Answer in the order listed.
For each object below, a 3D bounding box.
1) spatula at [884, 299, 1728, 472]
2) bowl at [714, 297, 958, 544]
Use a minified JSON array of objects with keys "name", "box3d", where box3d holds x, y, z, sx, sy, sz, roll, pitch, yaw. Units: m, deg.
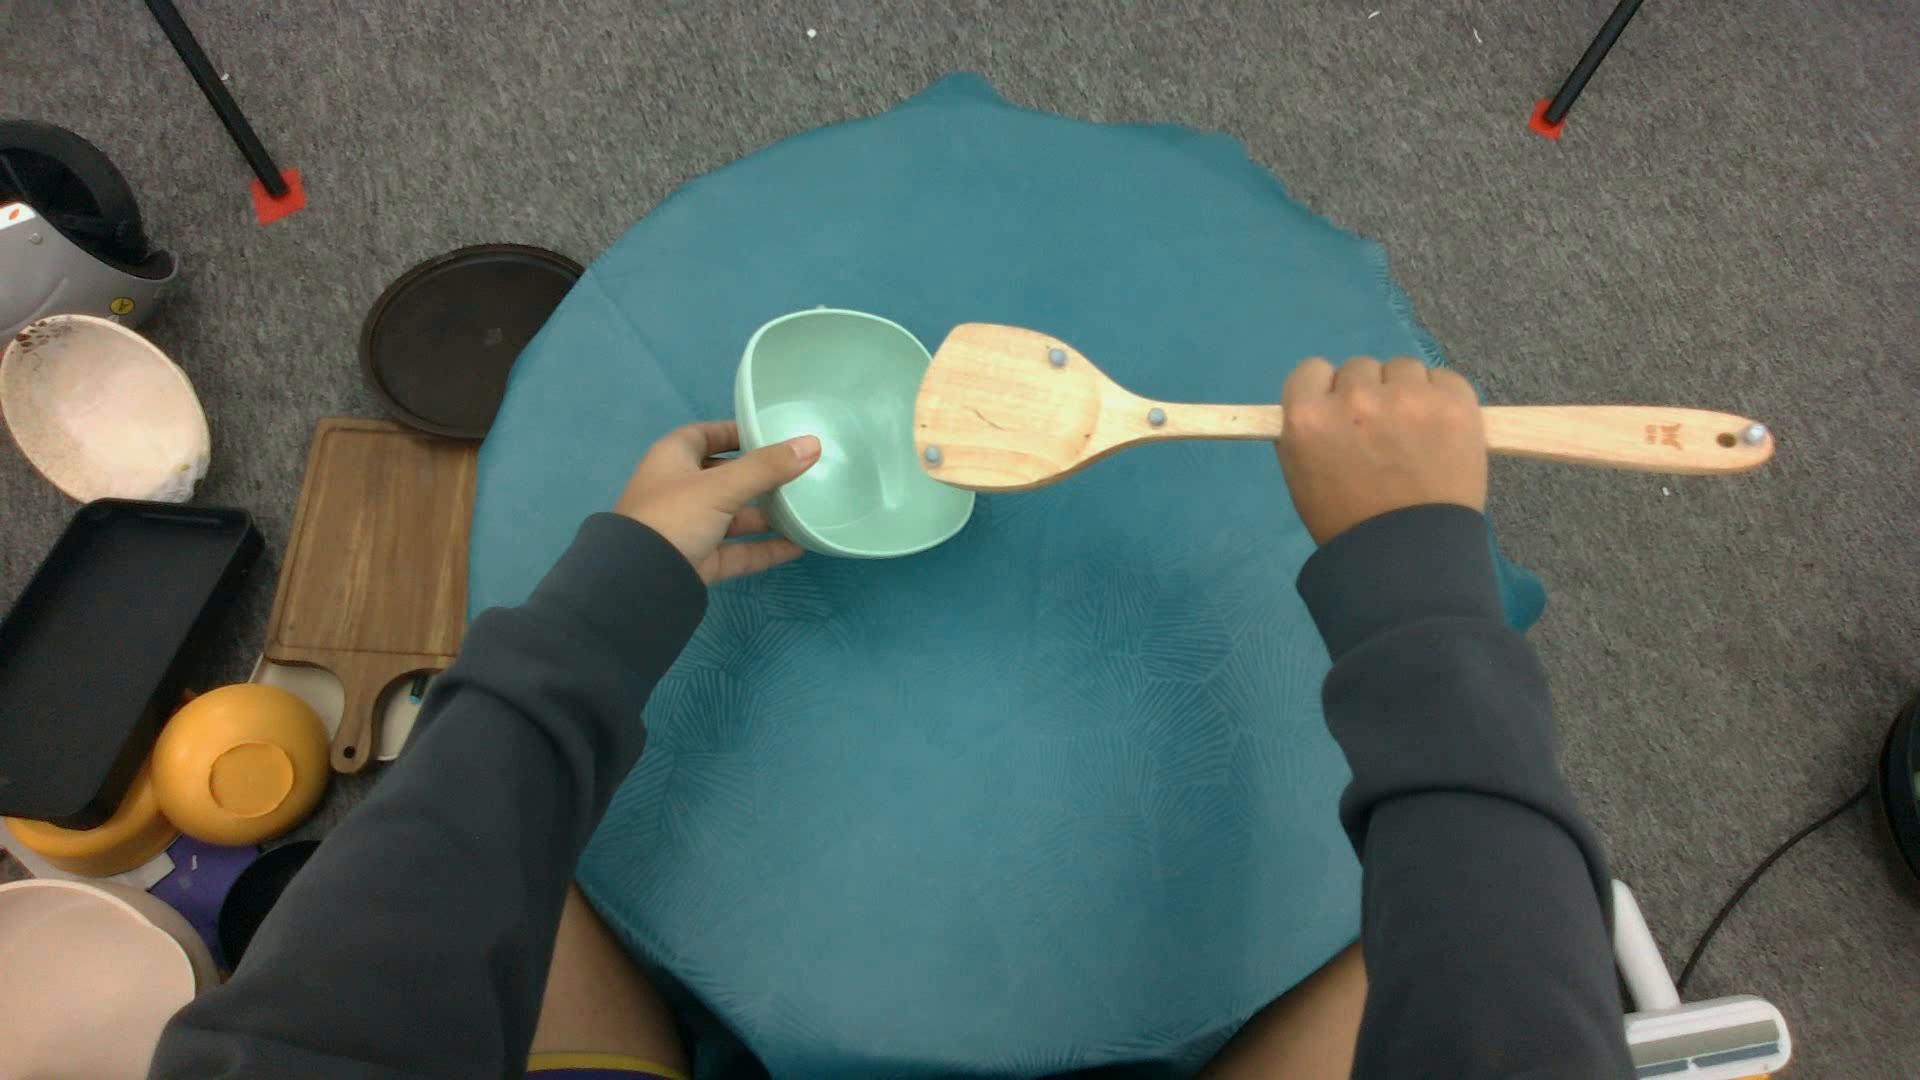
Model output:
[{"name":"spatula","box3d":[0.151,-0.070,0.659,0.390,0.018,0.096,3,69,17]},{"name":"bowl","box3d":[-0.076,-0.055,0.737,0.151,0.058,0.152,20,57,-33]}]
